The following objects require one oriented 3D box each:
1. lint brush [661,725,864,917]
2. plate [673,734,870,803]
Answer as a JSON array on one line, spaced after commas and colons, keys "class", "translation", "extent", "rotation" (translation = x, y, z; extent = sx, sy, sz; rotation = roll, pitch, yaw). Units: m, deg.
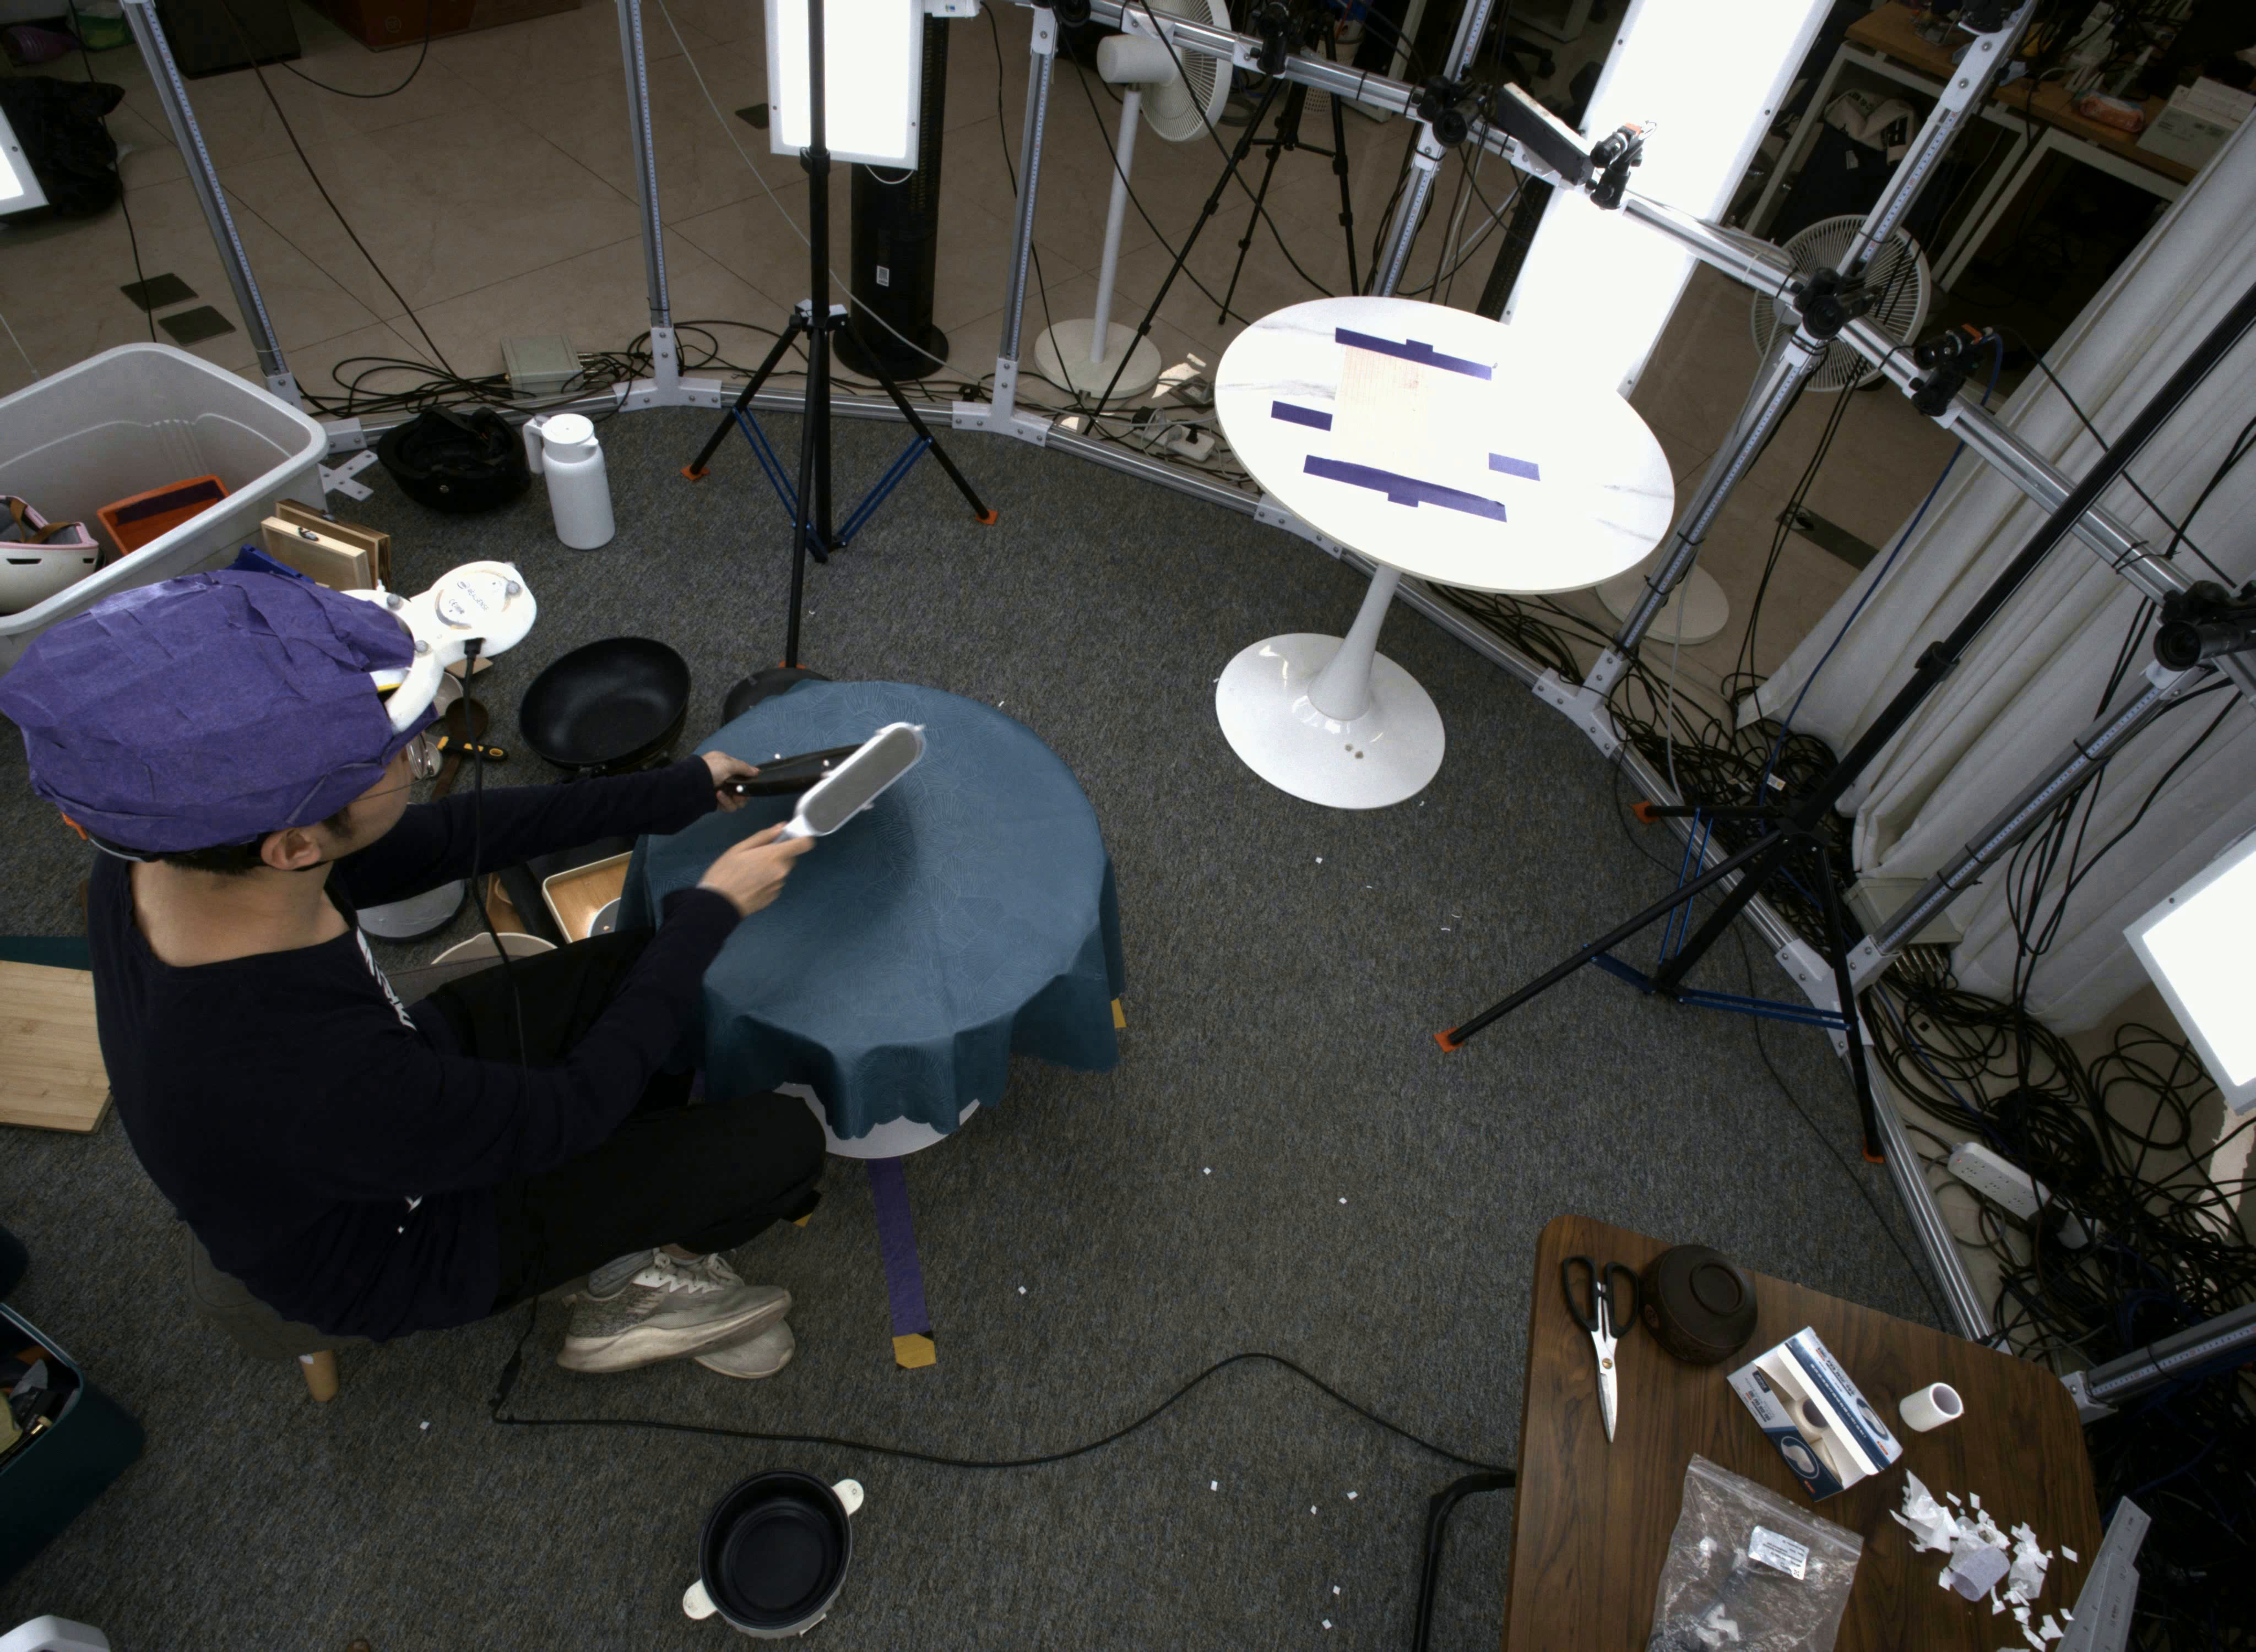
[{"class": "lint brush", "translation": [-0.425, -0.009, 1.506], "extent": [0.020, 0.062, 0.309], "rotation": [22, 60, 45]}, {"class": "plate", "translation": [-0.450, -0.073, 1.644], "extent": [0.256, 0.248, 0.029], "rotation": [-17, 101, -25]}]
